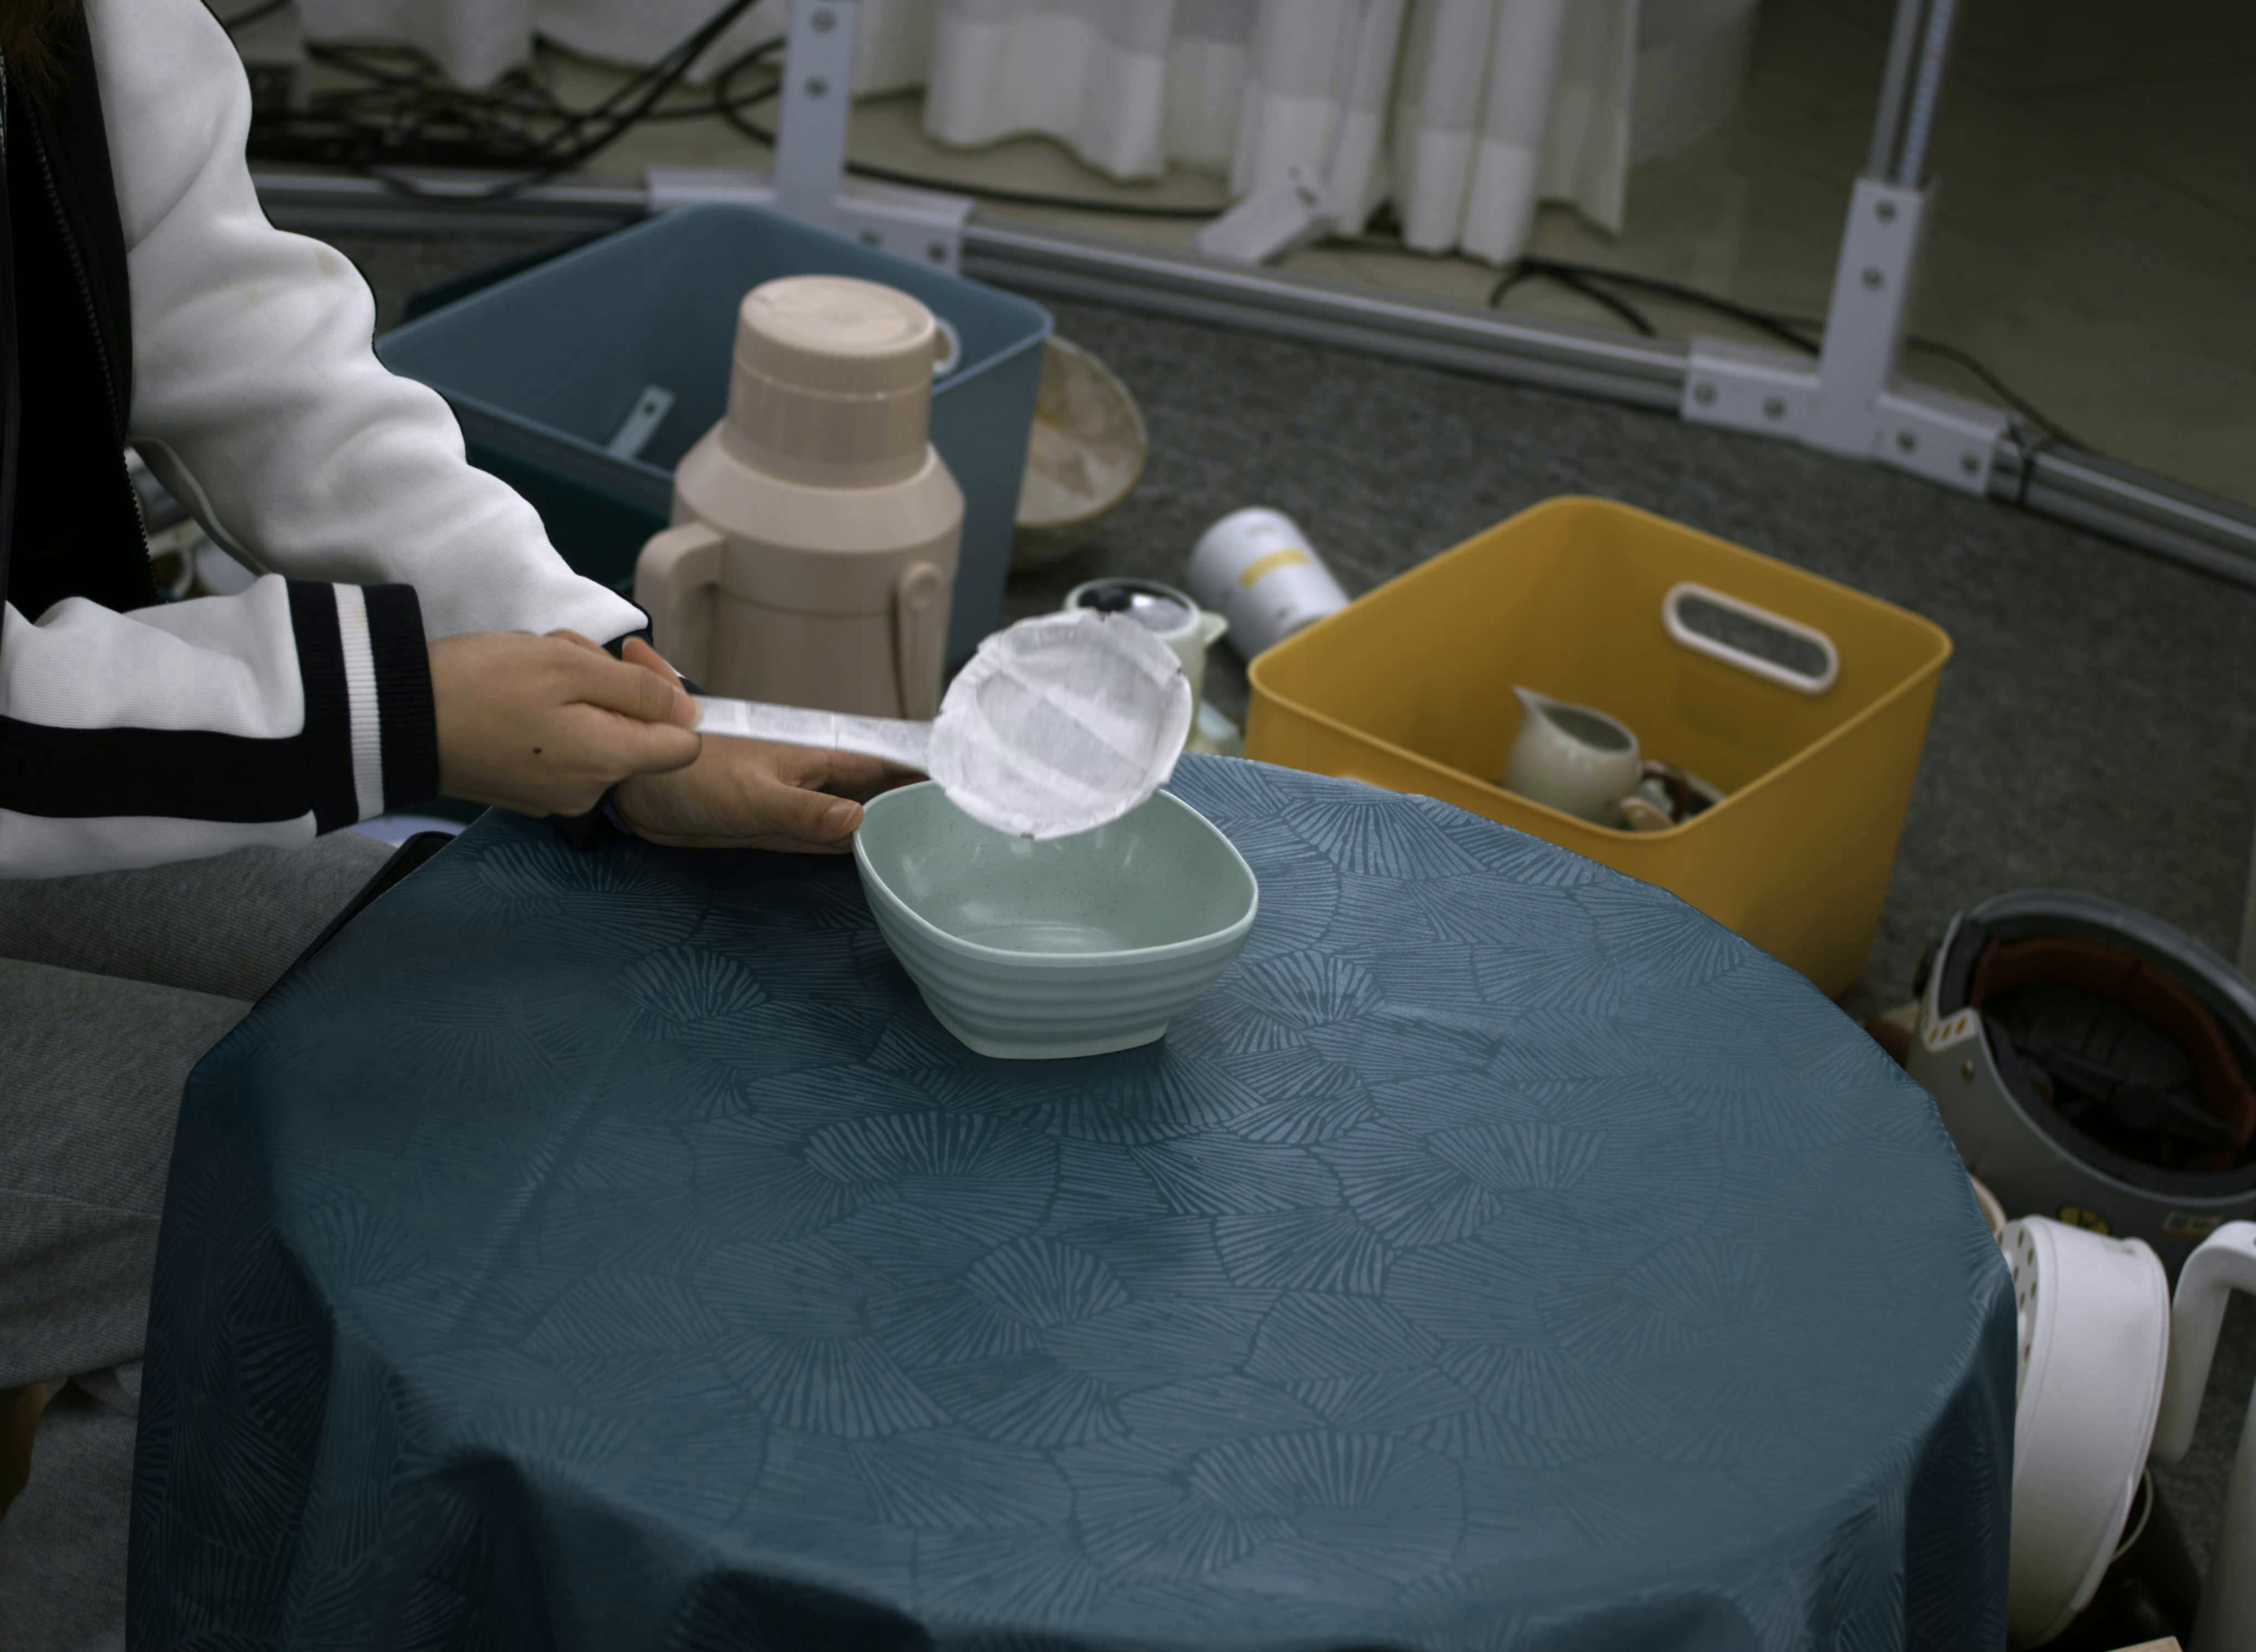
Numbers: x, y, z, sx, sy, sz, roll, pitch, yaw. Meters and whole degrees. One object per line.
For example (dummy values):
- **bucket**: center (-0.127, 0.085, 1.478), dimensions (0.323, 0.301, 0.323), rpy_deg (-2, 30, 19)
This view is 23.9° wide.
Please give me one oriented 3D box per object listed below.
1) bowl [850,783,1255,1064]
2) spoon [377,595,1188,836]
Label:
- **bowl**: center (-0.030, 0.039, 1.903), dimensions (0.151, 0.058, 0.152), rpy_deg (5, 27, -3)
- **spoon**: center (-0.118, -0.056, 1.841), dimensions (0.276, 0.059, 0.101), rpy_deg (12, 49, -15)
